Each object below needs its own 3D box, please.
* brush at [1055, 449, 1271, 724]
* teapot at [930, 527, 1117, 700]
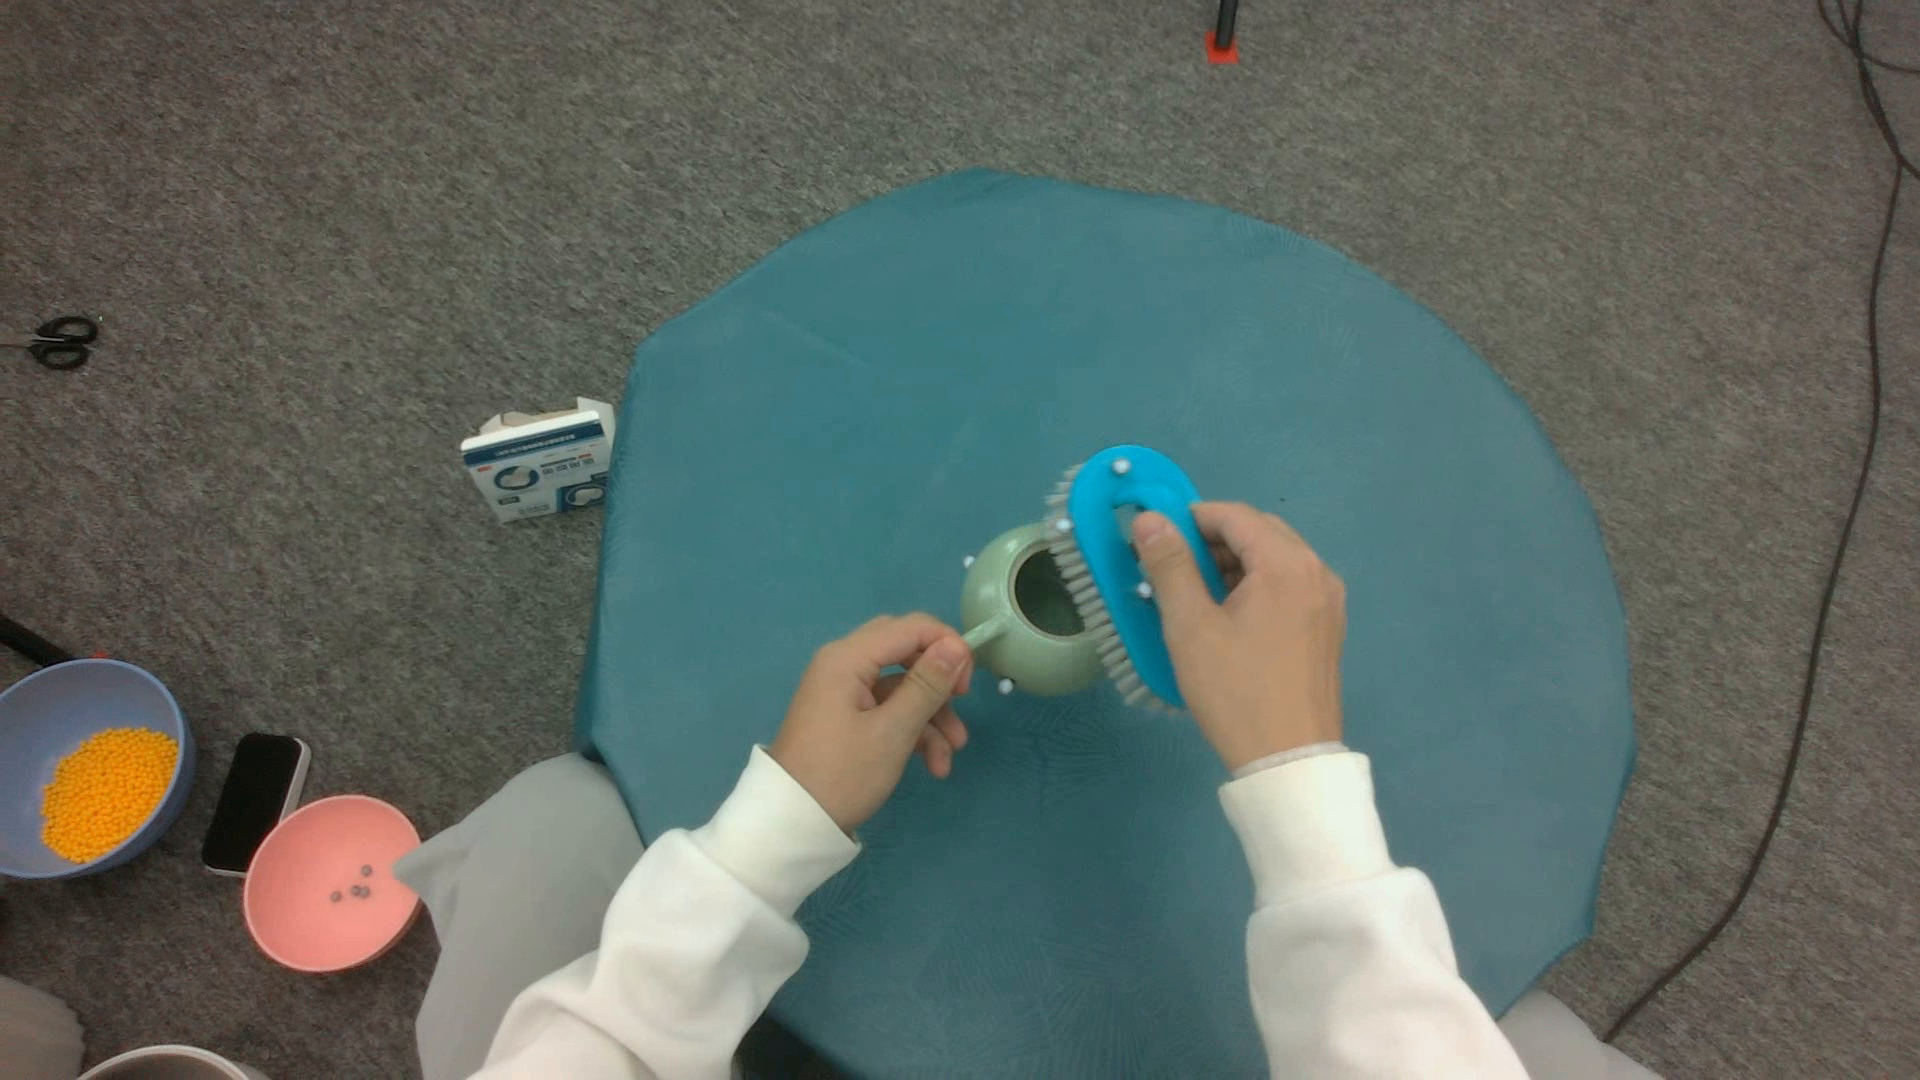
[{"bbox_3d":[0.109,0.018,0.679,0.084,0.063,0.142,-19,83,-27],"label":"brush"},{"bbox_3d":[0.041,0.042,0.722,0.129,0.060,0.091,-24,76,-20],"label":"teapot"}]
